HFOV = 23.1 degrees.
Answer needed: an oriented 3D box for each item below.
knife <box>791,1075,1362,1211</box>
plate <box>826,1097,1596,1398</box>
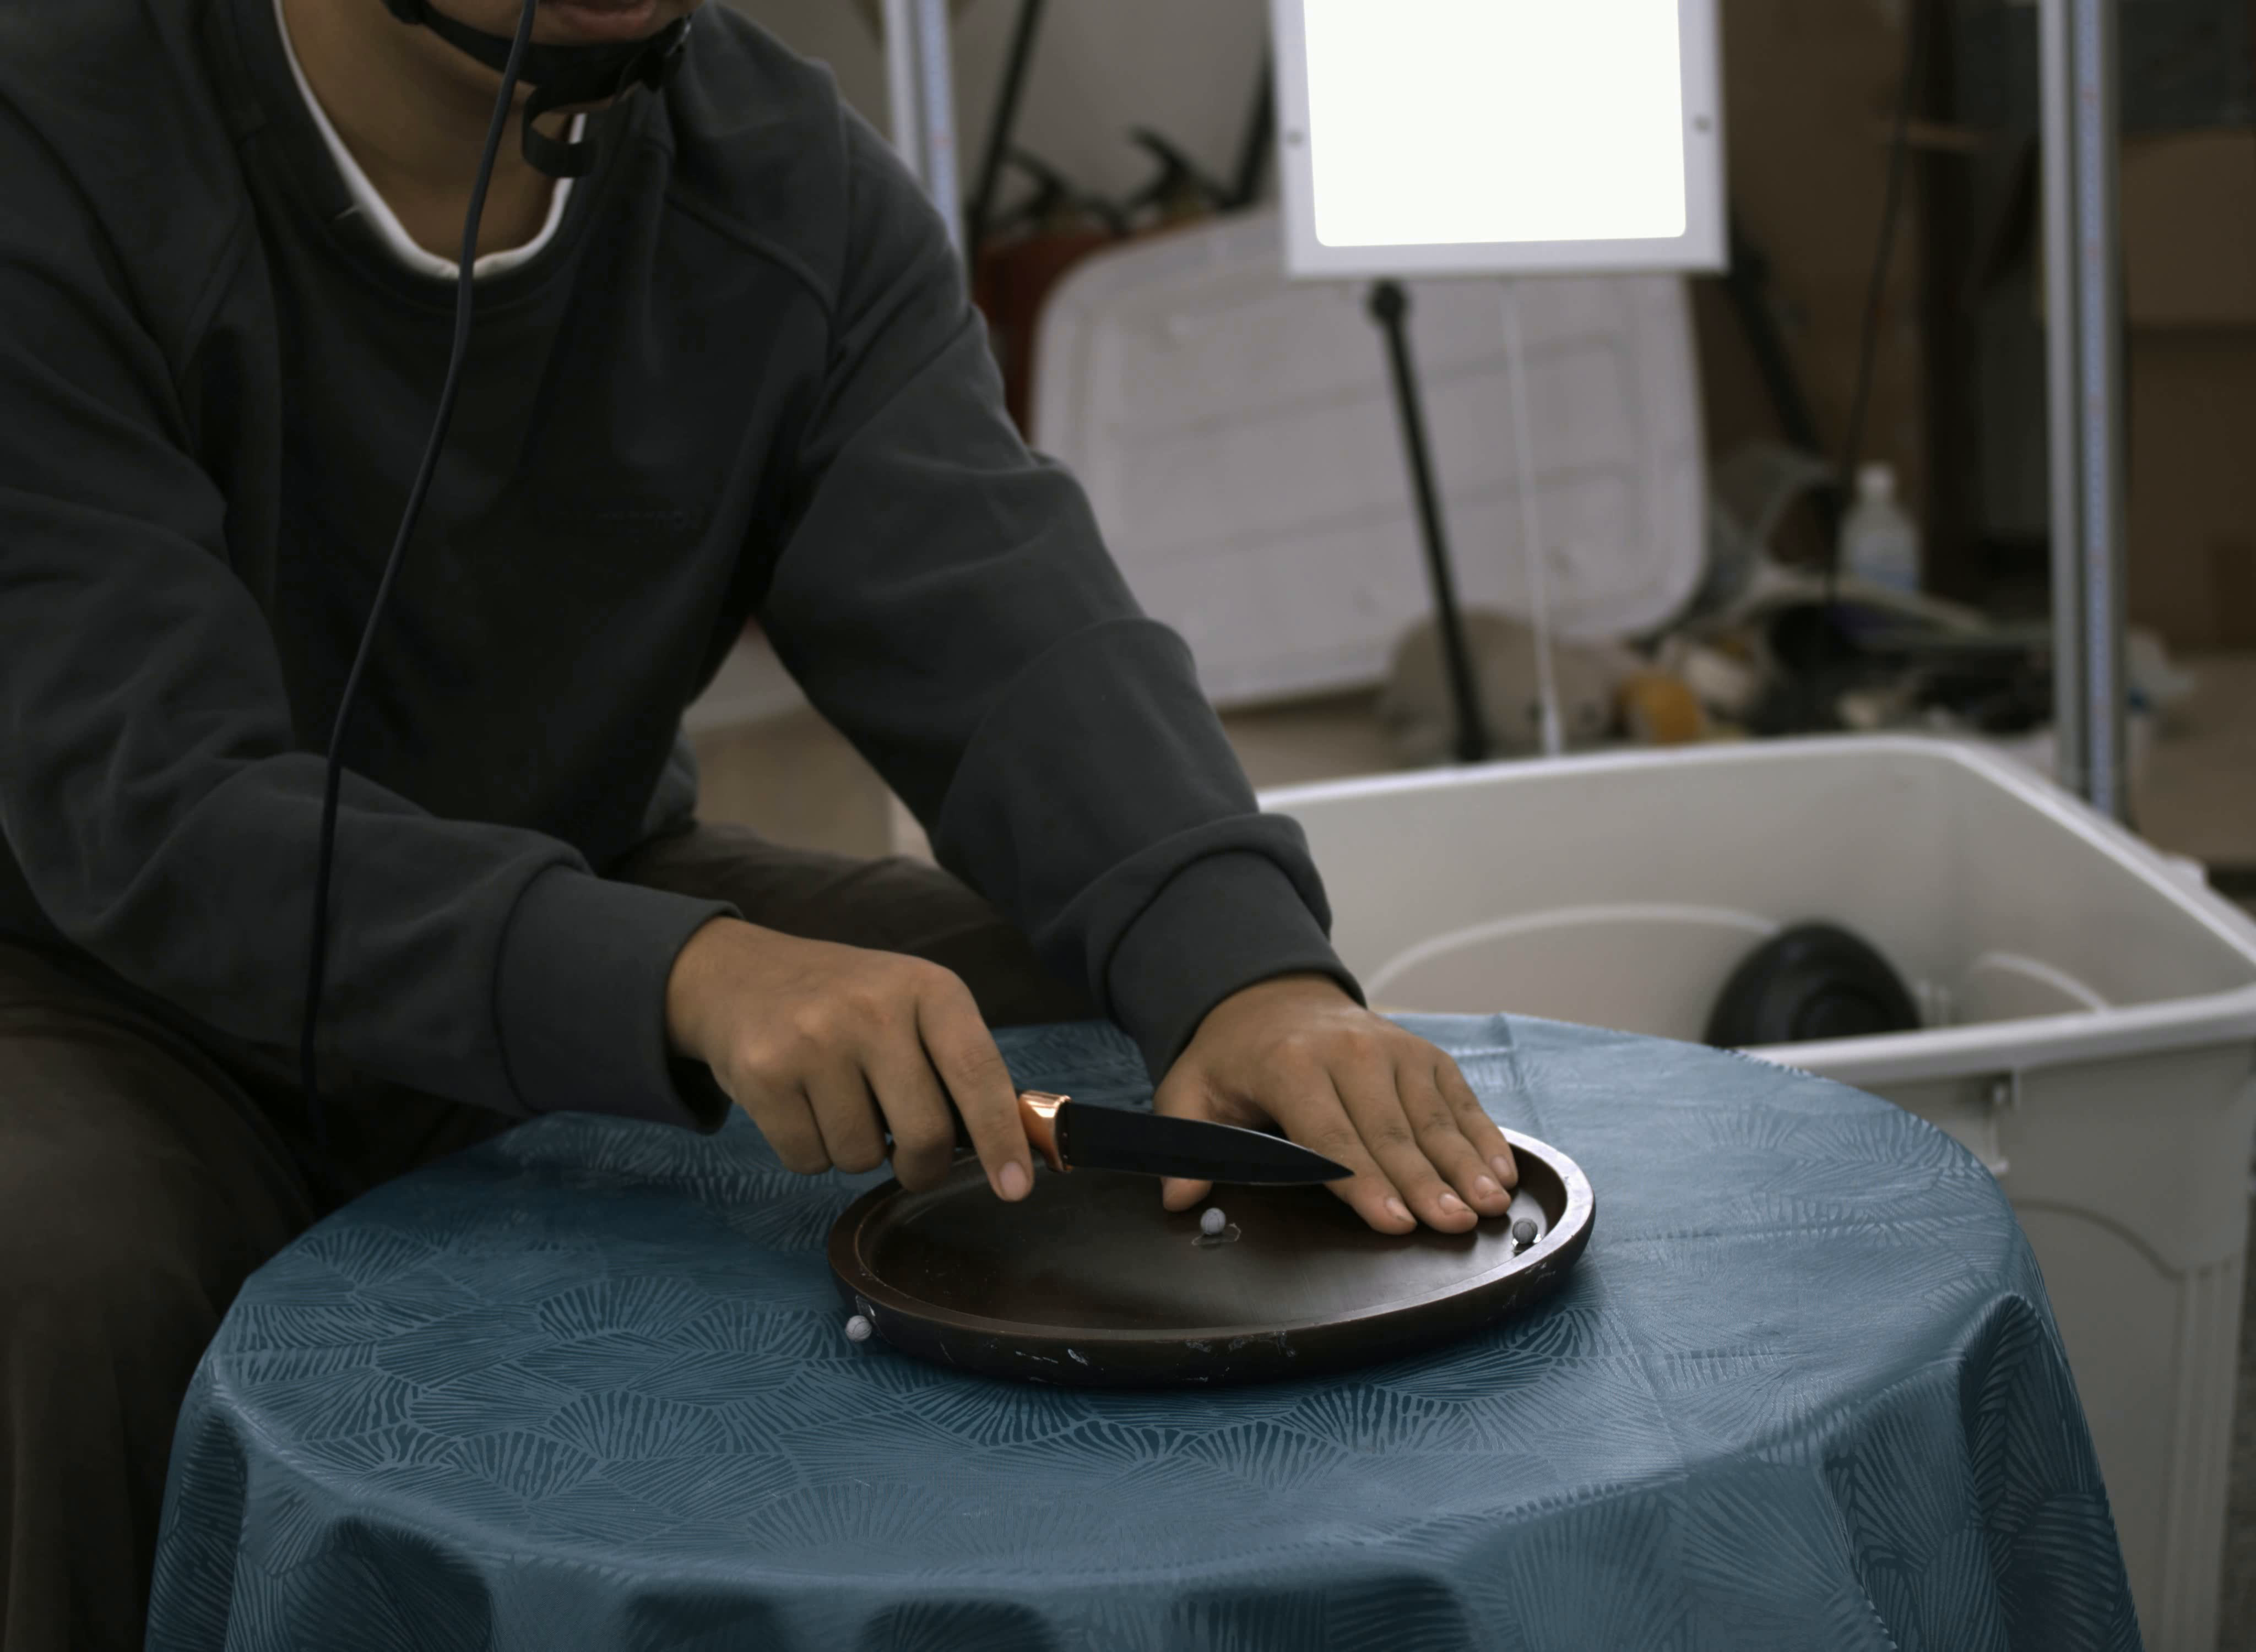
[{"bbox_3d":[-0.019,0.103,1.810,0.230,0.026,0.017,6,9,35],"label":"knife"},{"bbox_3d":[0.027,0.136,1.801,0.254,0.029,0.254,-6,13,0],"label":"plate"}]
